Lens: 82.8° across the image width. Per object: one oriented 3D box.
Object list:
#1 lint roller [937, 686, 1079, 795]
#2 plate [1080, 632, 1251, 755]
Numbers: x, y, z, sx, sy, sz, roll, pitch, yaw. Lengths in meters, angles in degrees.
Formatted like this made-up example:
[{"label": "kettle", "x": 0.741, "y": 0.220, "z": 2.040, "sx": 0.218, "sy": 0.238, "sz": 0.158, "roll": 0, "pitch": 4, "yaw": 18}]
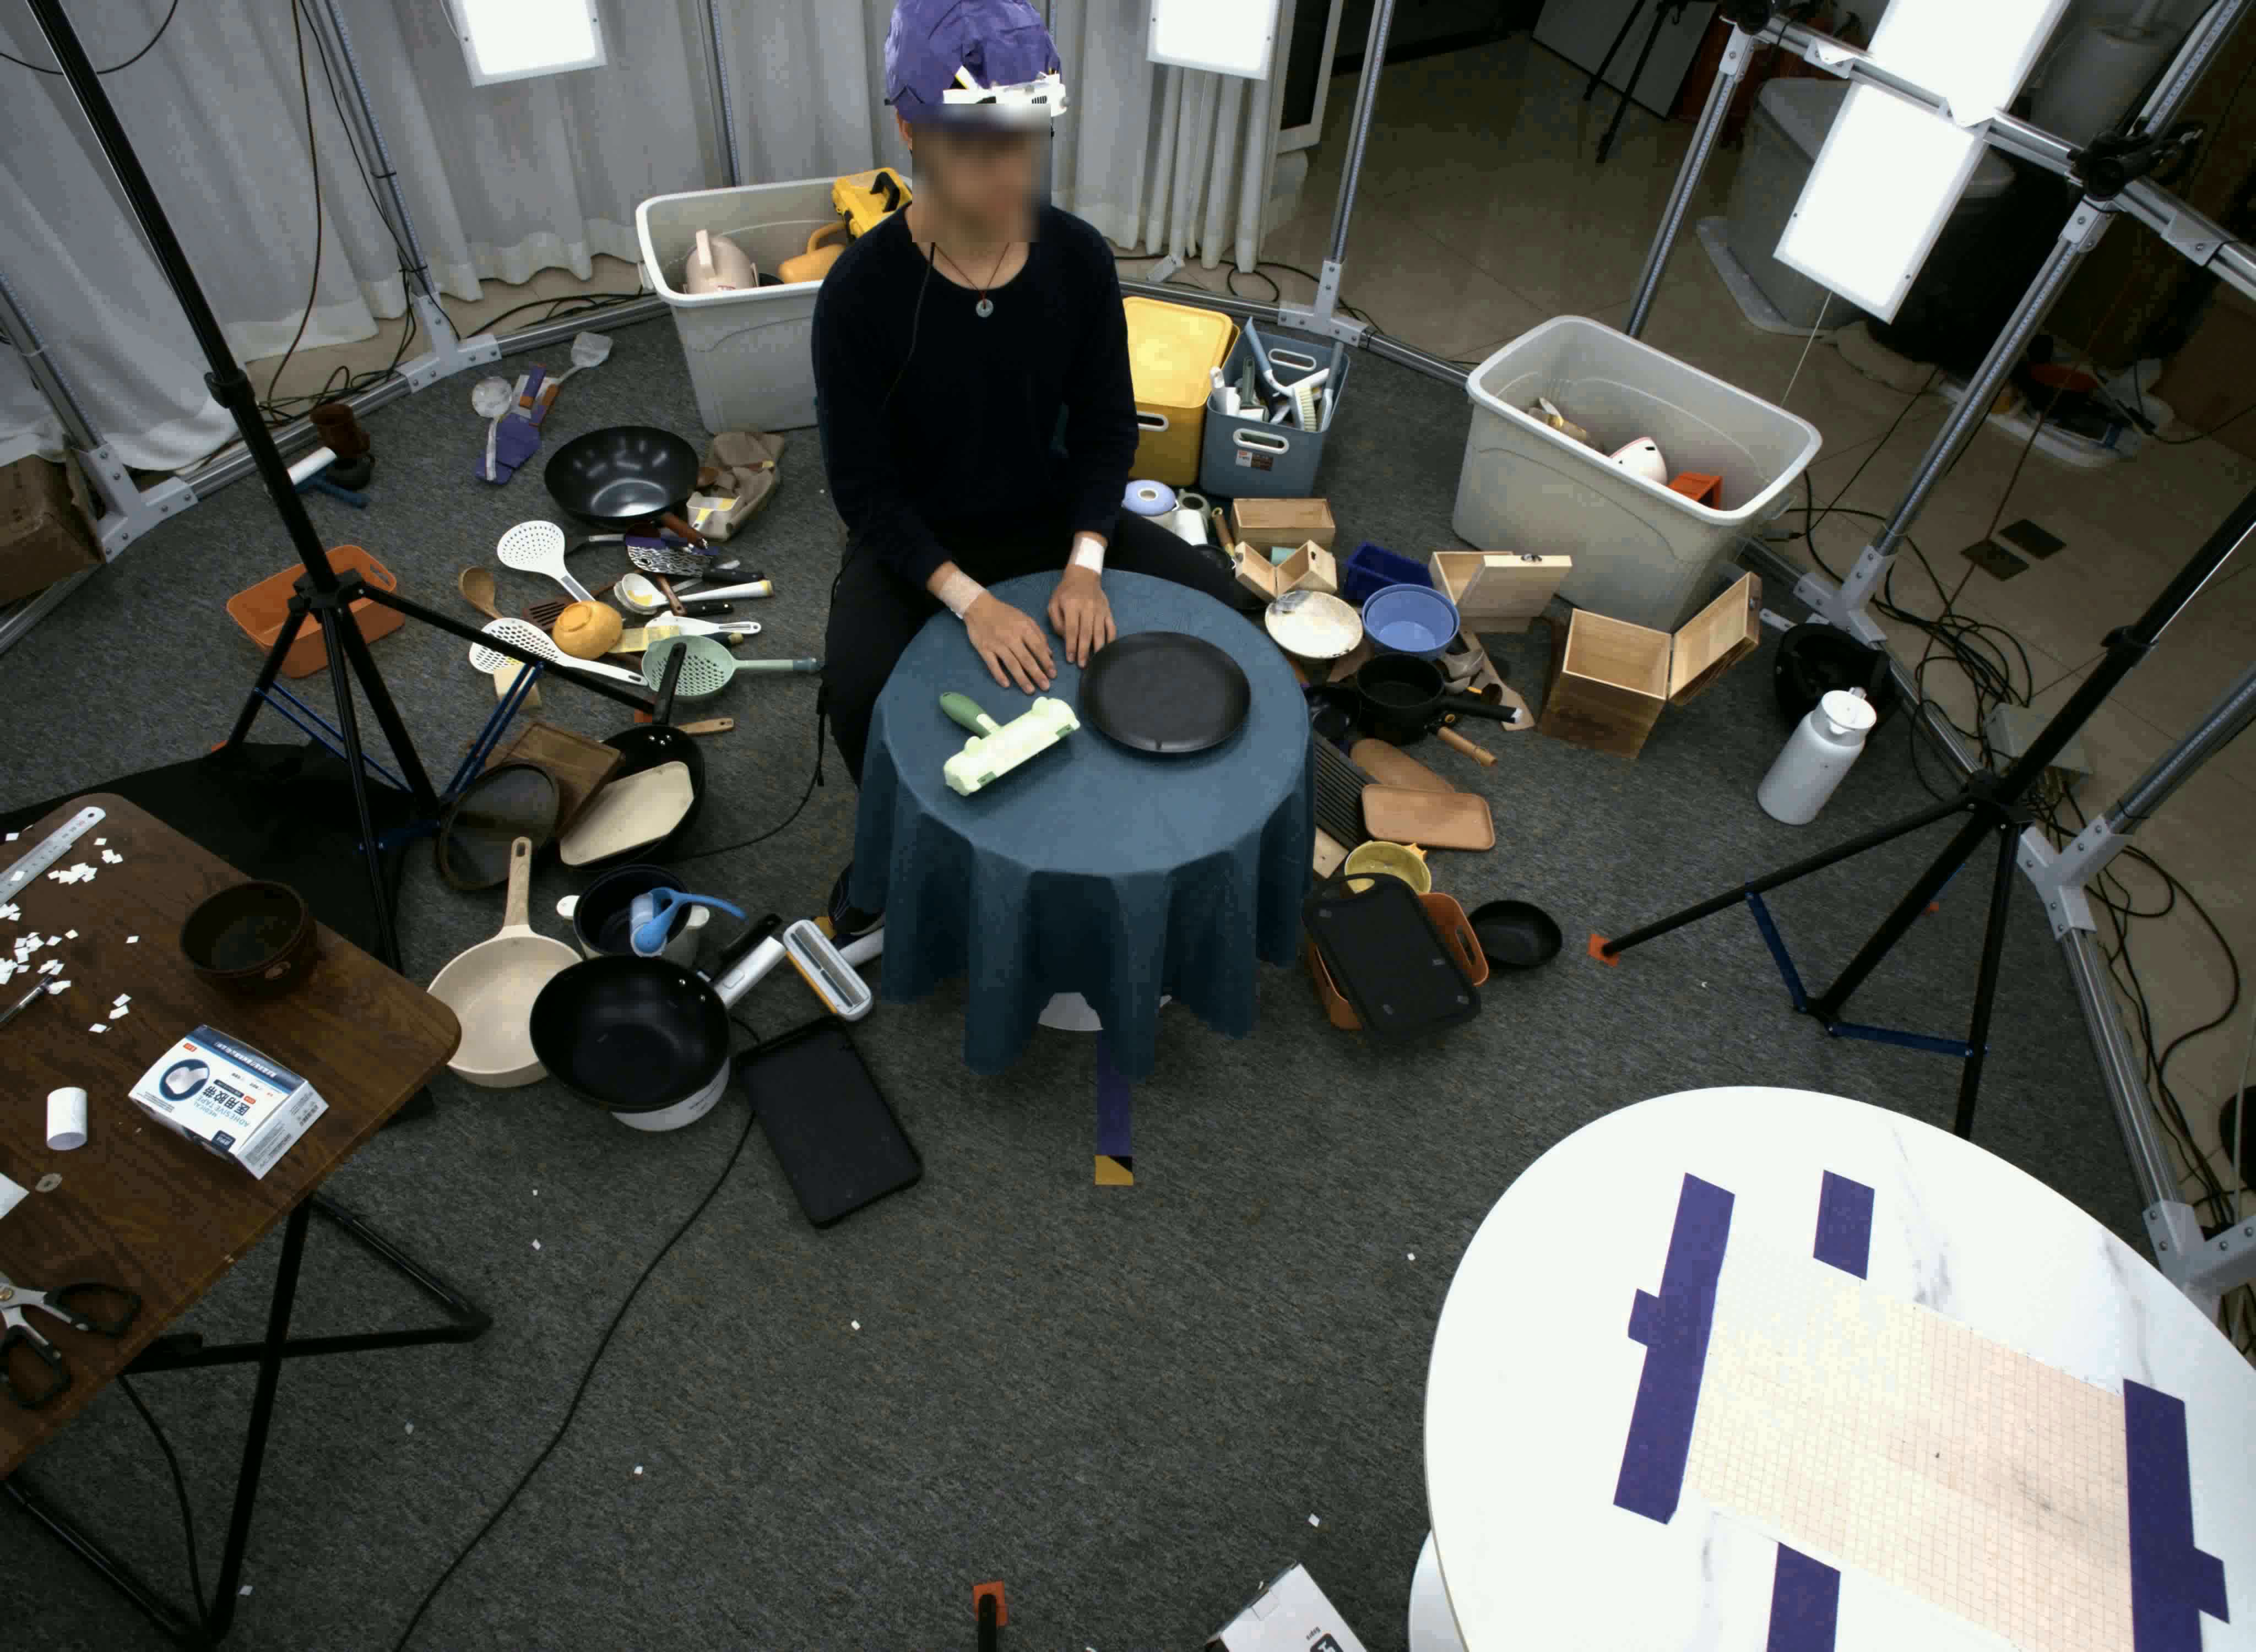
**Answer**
[{"label": "lint roller", "x": -0.195, "y": -0.148, "z": 1.729, "sx": 0.200, "sy": 0.080, "sz": 0.186, "roll": -34, "pitch": 66, "yaw": -30}, {"label": "plate", "x": 0.053, "y": -0.186, "z": 1.818, "sx": 0.244, "sy": 0.023, "sz": 0.250, "roll": 2, "pitch": 49, "yaw": -2}]
